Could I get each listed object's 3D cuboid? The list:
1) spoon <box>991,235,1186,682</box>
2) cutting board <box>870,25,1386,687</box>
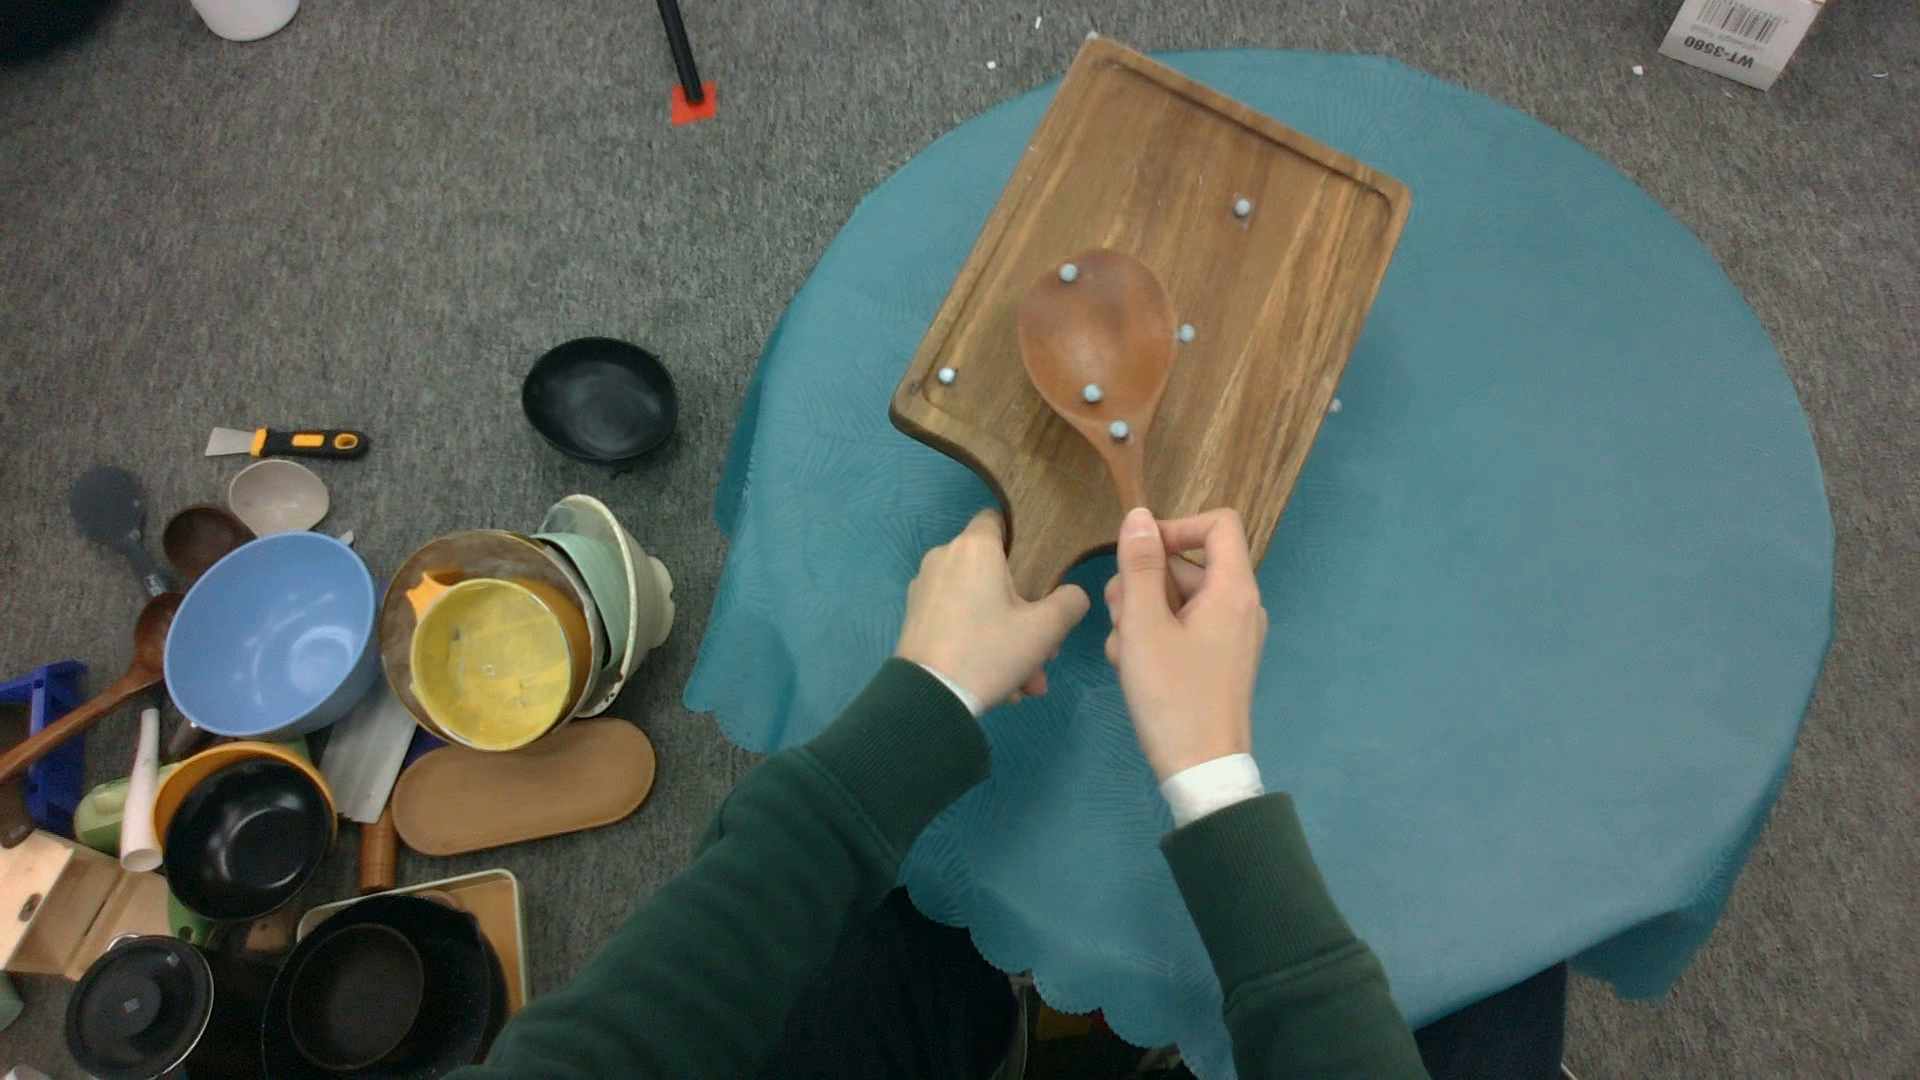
[{"bbox_3d":[0.065,-0.041,0.617,0.075,0.017,0.216,-13,70,3],"label":"spoon"},{"bbox_3d":[0.073,-0.086,0.690,0.201,0.023,0.353,27,71,-1],"label":"cutting board"}]
